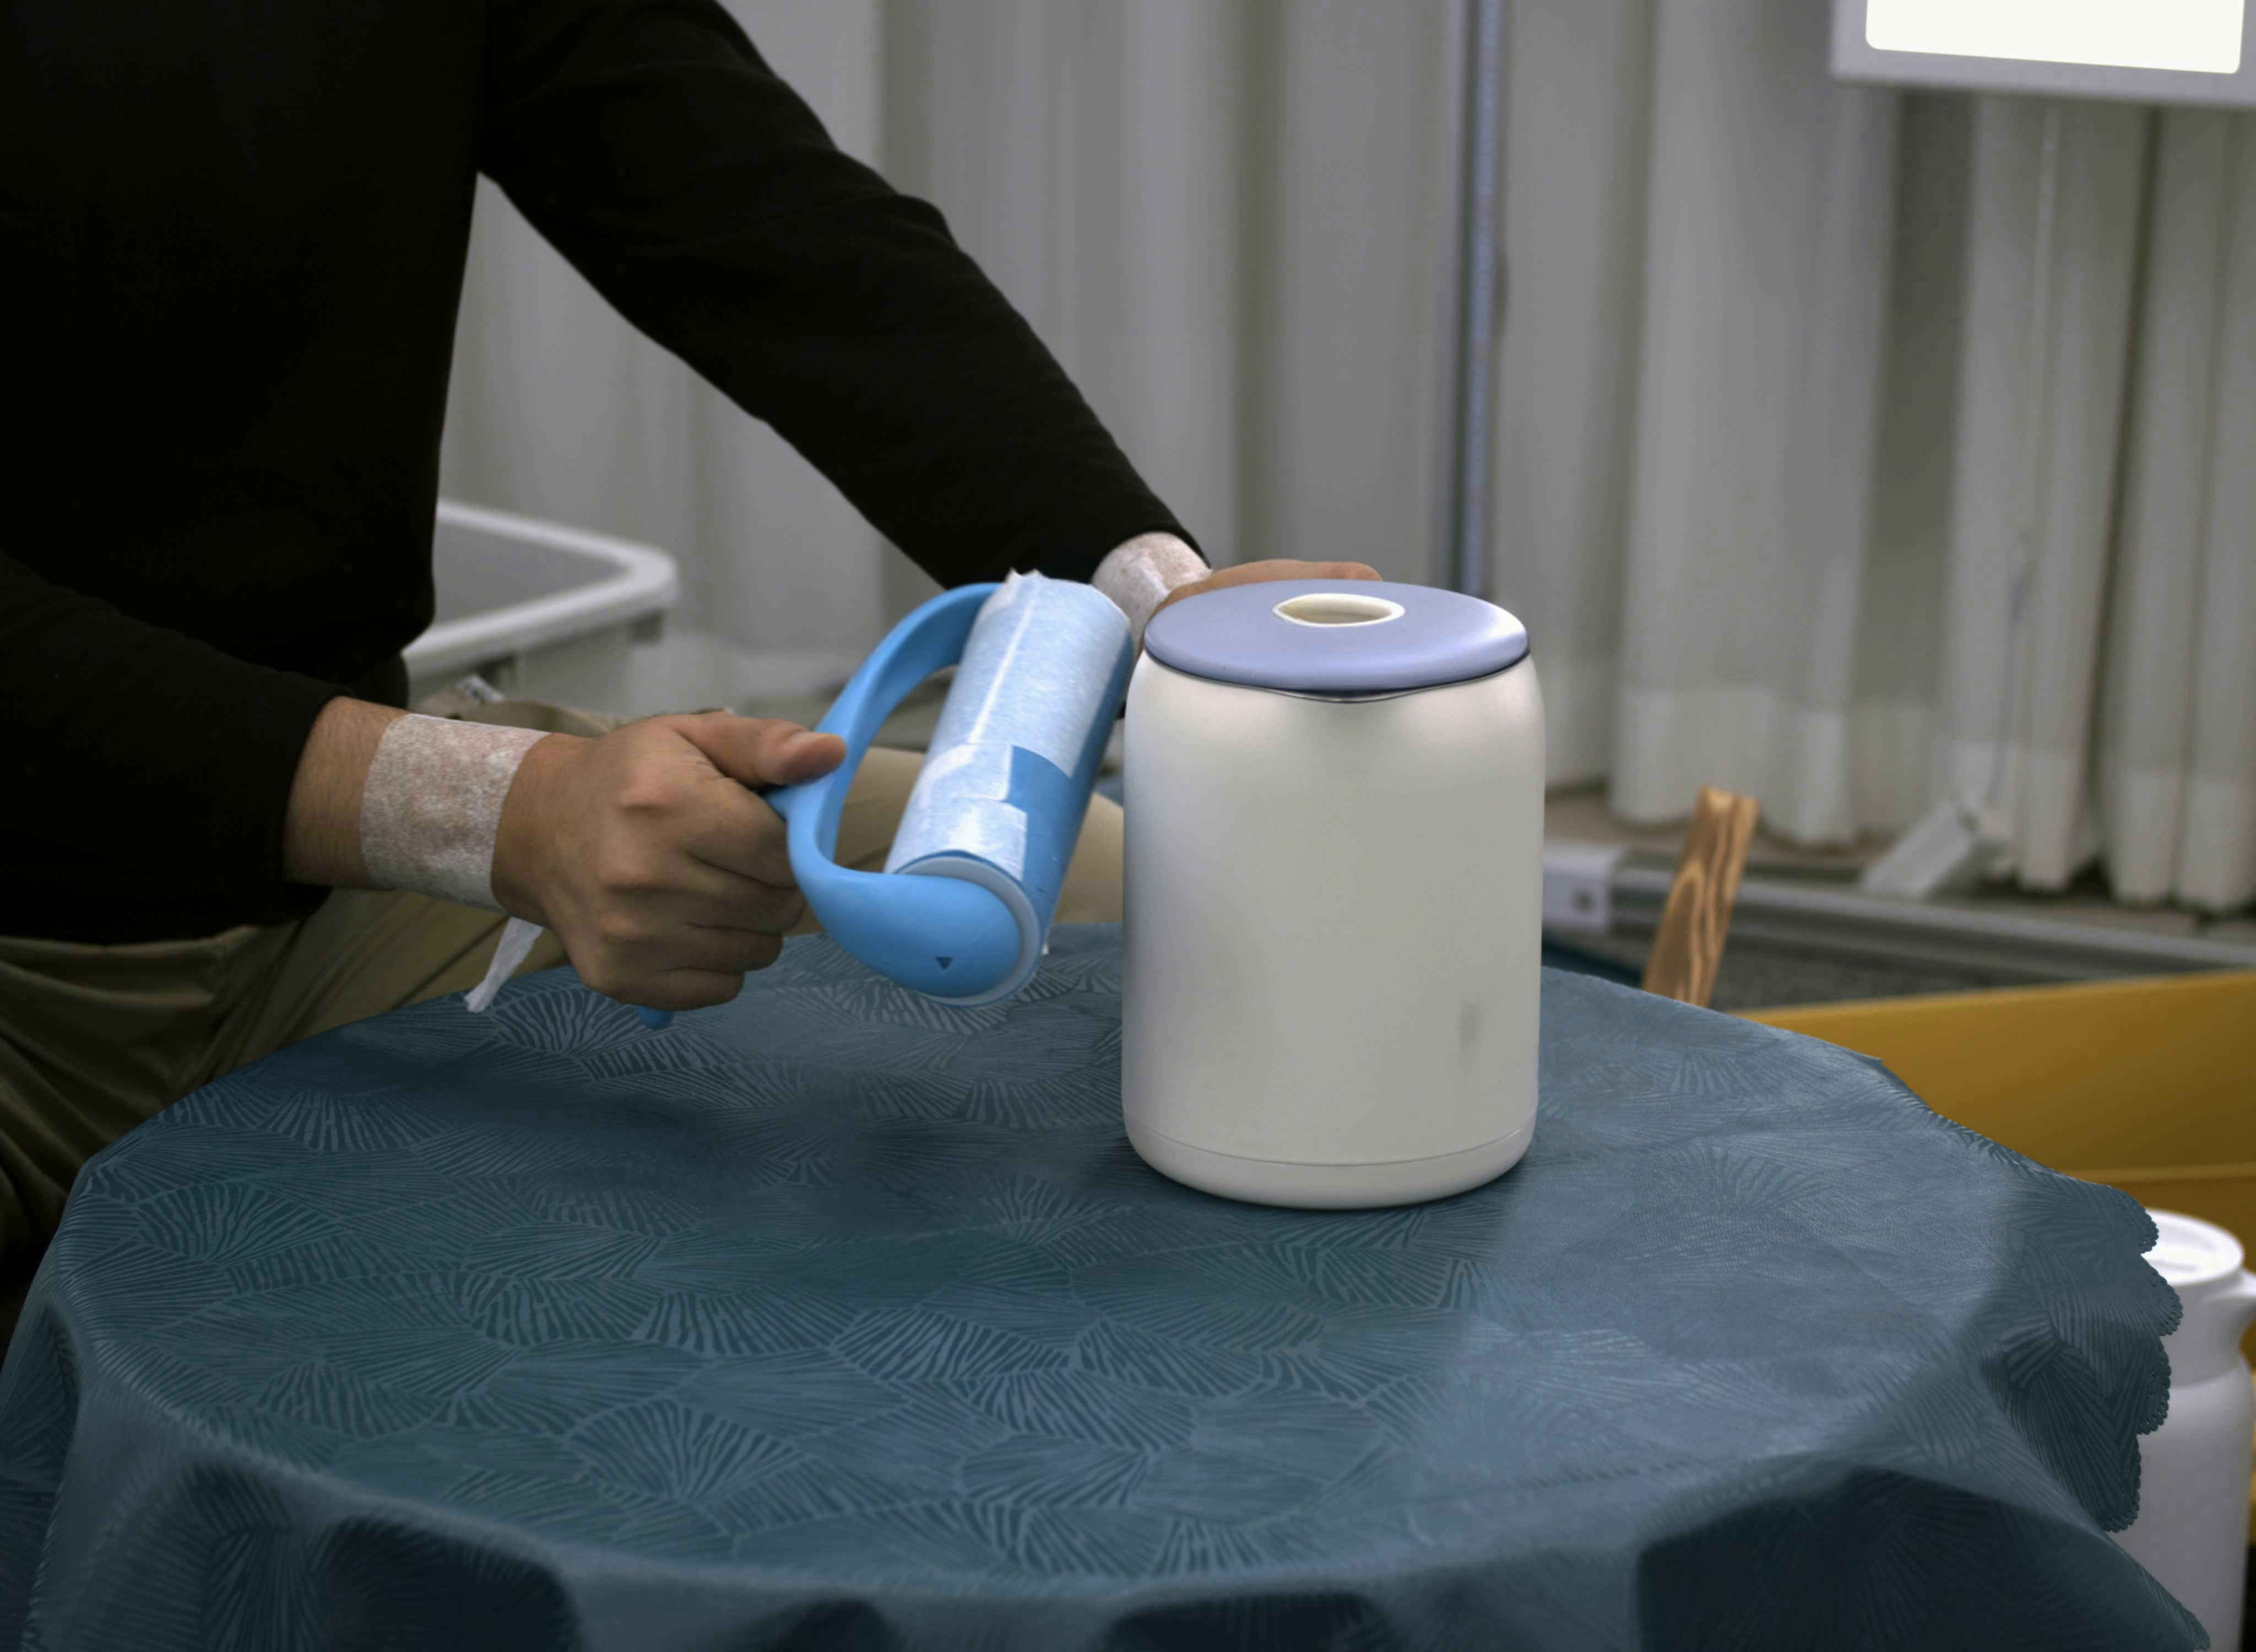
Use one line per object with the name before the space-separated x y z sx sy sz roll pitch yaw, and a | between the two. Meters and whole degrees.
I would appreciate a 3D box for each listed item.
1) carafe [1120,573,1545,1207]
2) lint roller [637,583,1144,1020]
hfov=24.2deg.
carafe | 0.062 0.013 1.659 0.132 0.184 0.190 0 14 -3
lint roller | -0.089 0.008 1.665 0.179 0.069 0.227 -19 26 16
